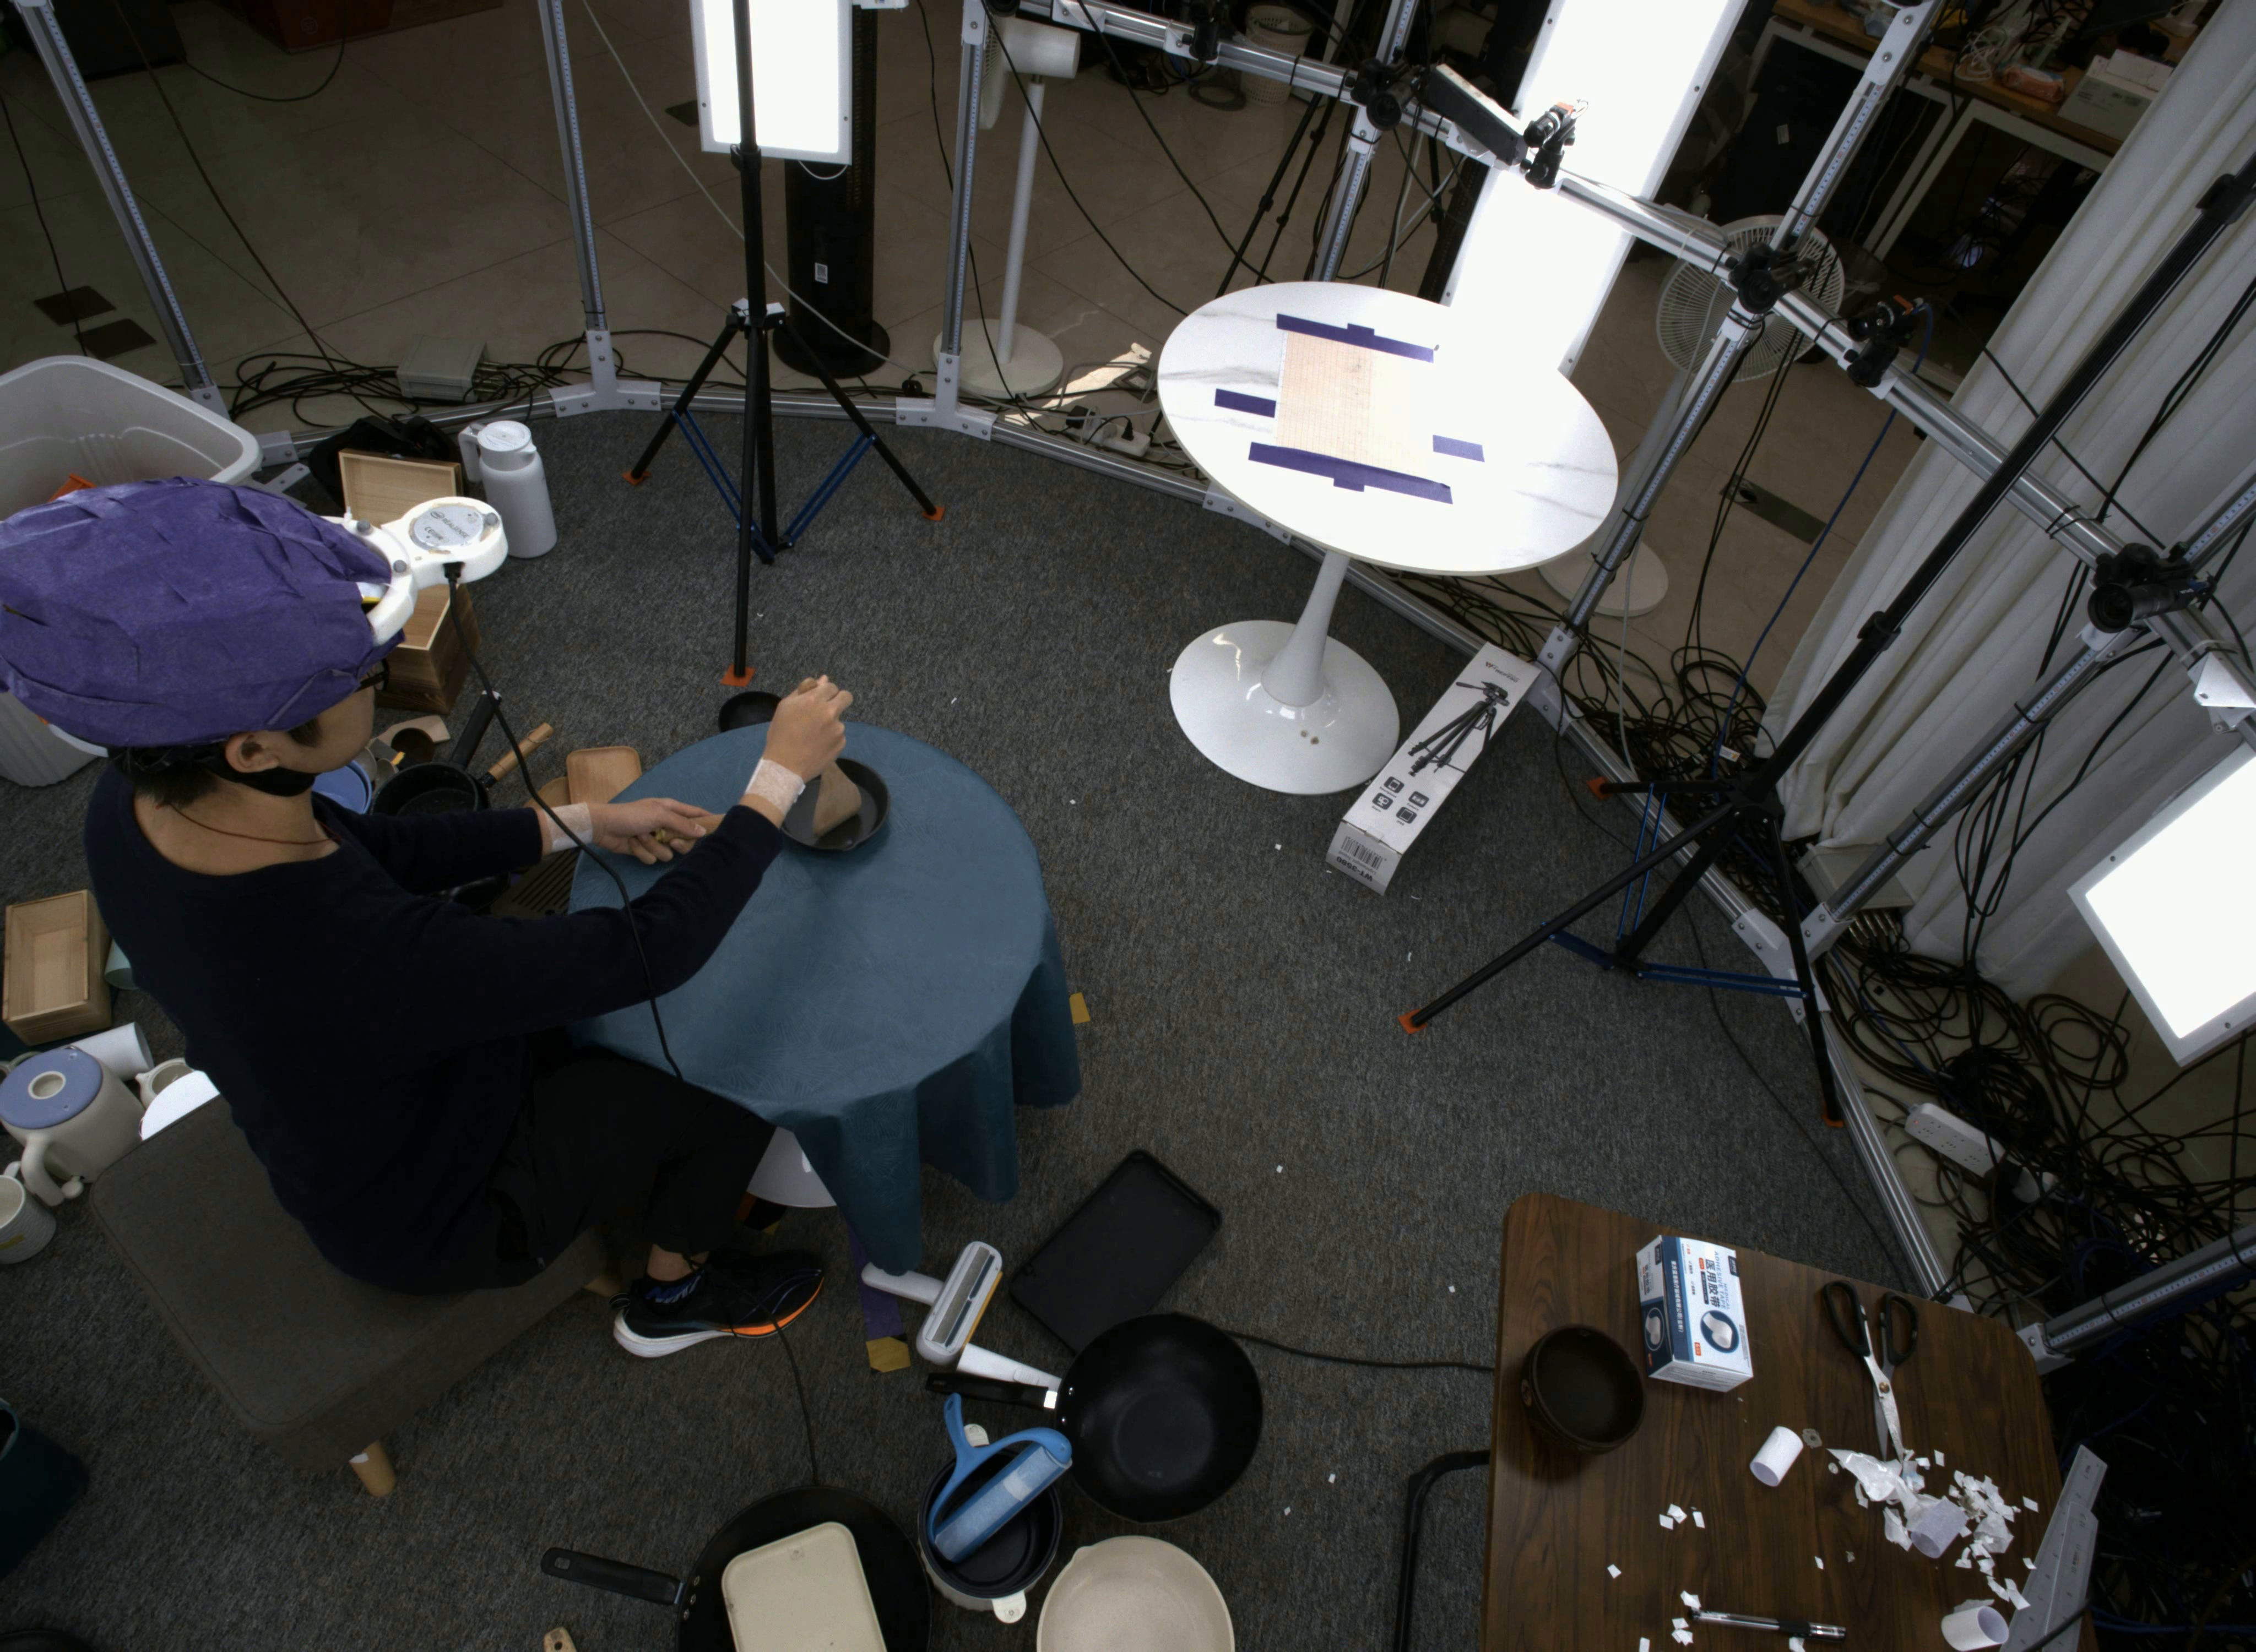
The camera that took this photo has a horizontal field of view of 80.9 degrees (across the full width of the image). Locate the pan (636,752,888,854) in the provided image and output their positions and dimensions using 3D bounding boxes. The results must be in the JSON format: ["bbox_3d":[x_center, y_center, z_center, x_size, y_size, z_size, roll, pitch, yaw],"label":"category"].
[{"bbox_3d":[-0.472,-0.014,1.679,0.326,0.050,0.165,-11,57,-24],"label":"pan"}]

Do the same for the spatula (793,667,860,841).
[{"bbox_3d":[-0.376,-0.084,1.583,0.016,0.335,0.080,38,63,20],"label":"spatula"}]
